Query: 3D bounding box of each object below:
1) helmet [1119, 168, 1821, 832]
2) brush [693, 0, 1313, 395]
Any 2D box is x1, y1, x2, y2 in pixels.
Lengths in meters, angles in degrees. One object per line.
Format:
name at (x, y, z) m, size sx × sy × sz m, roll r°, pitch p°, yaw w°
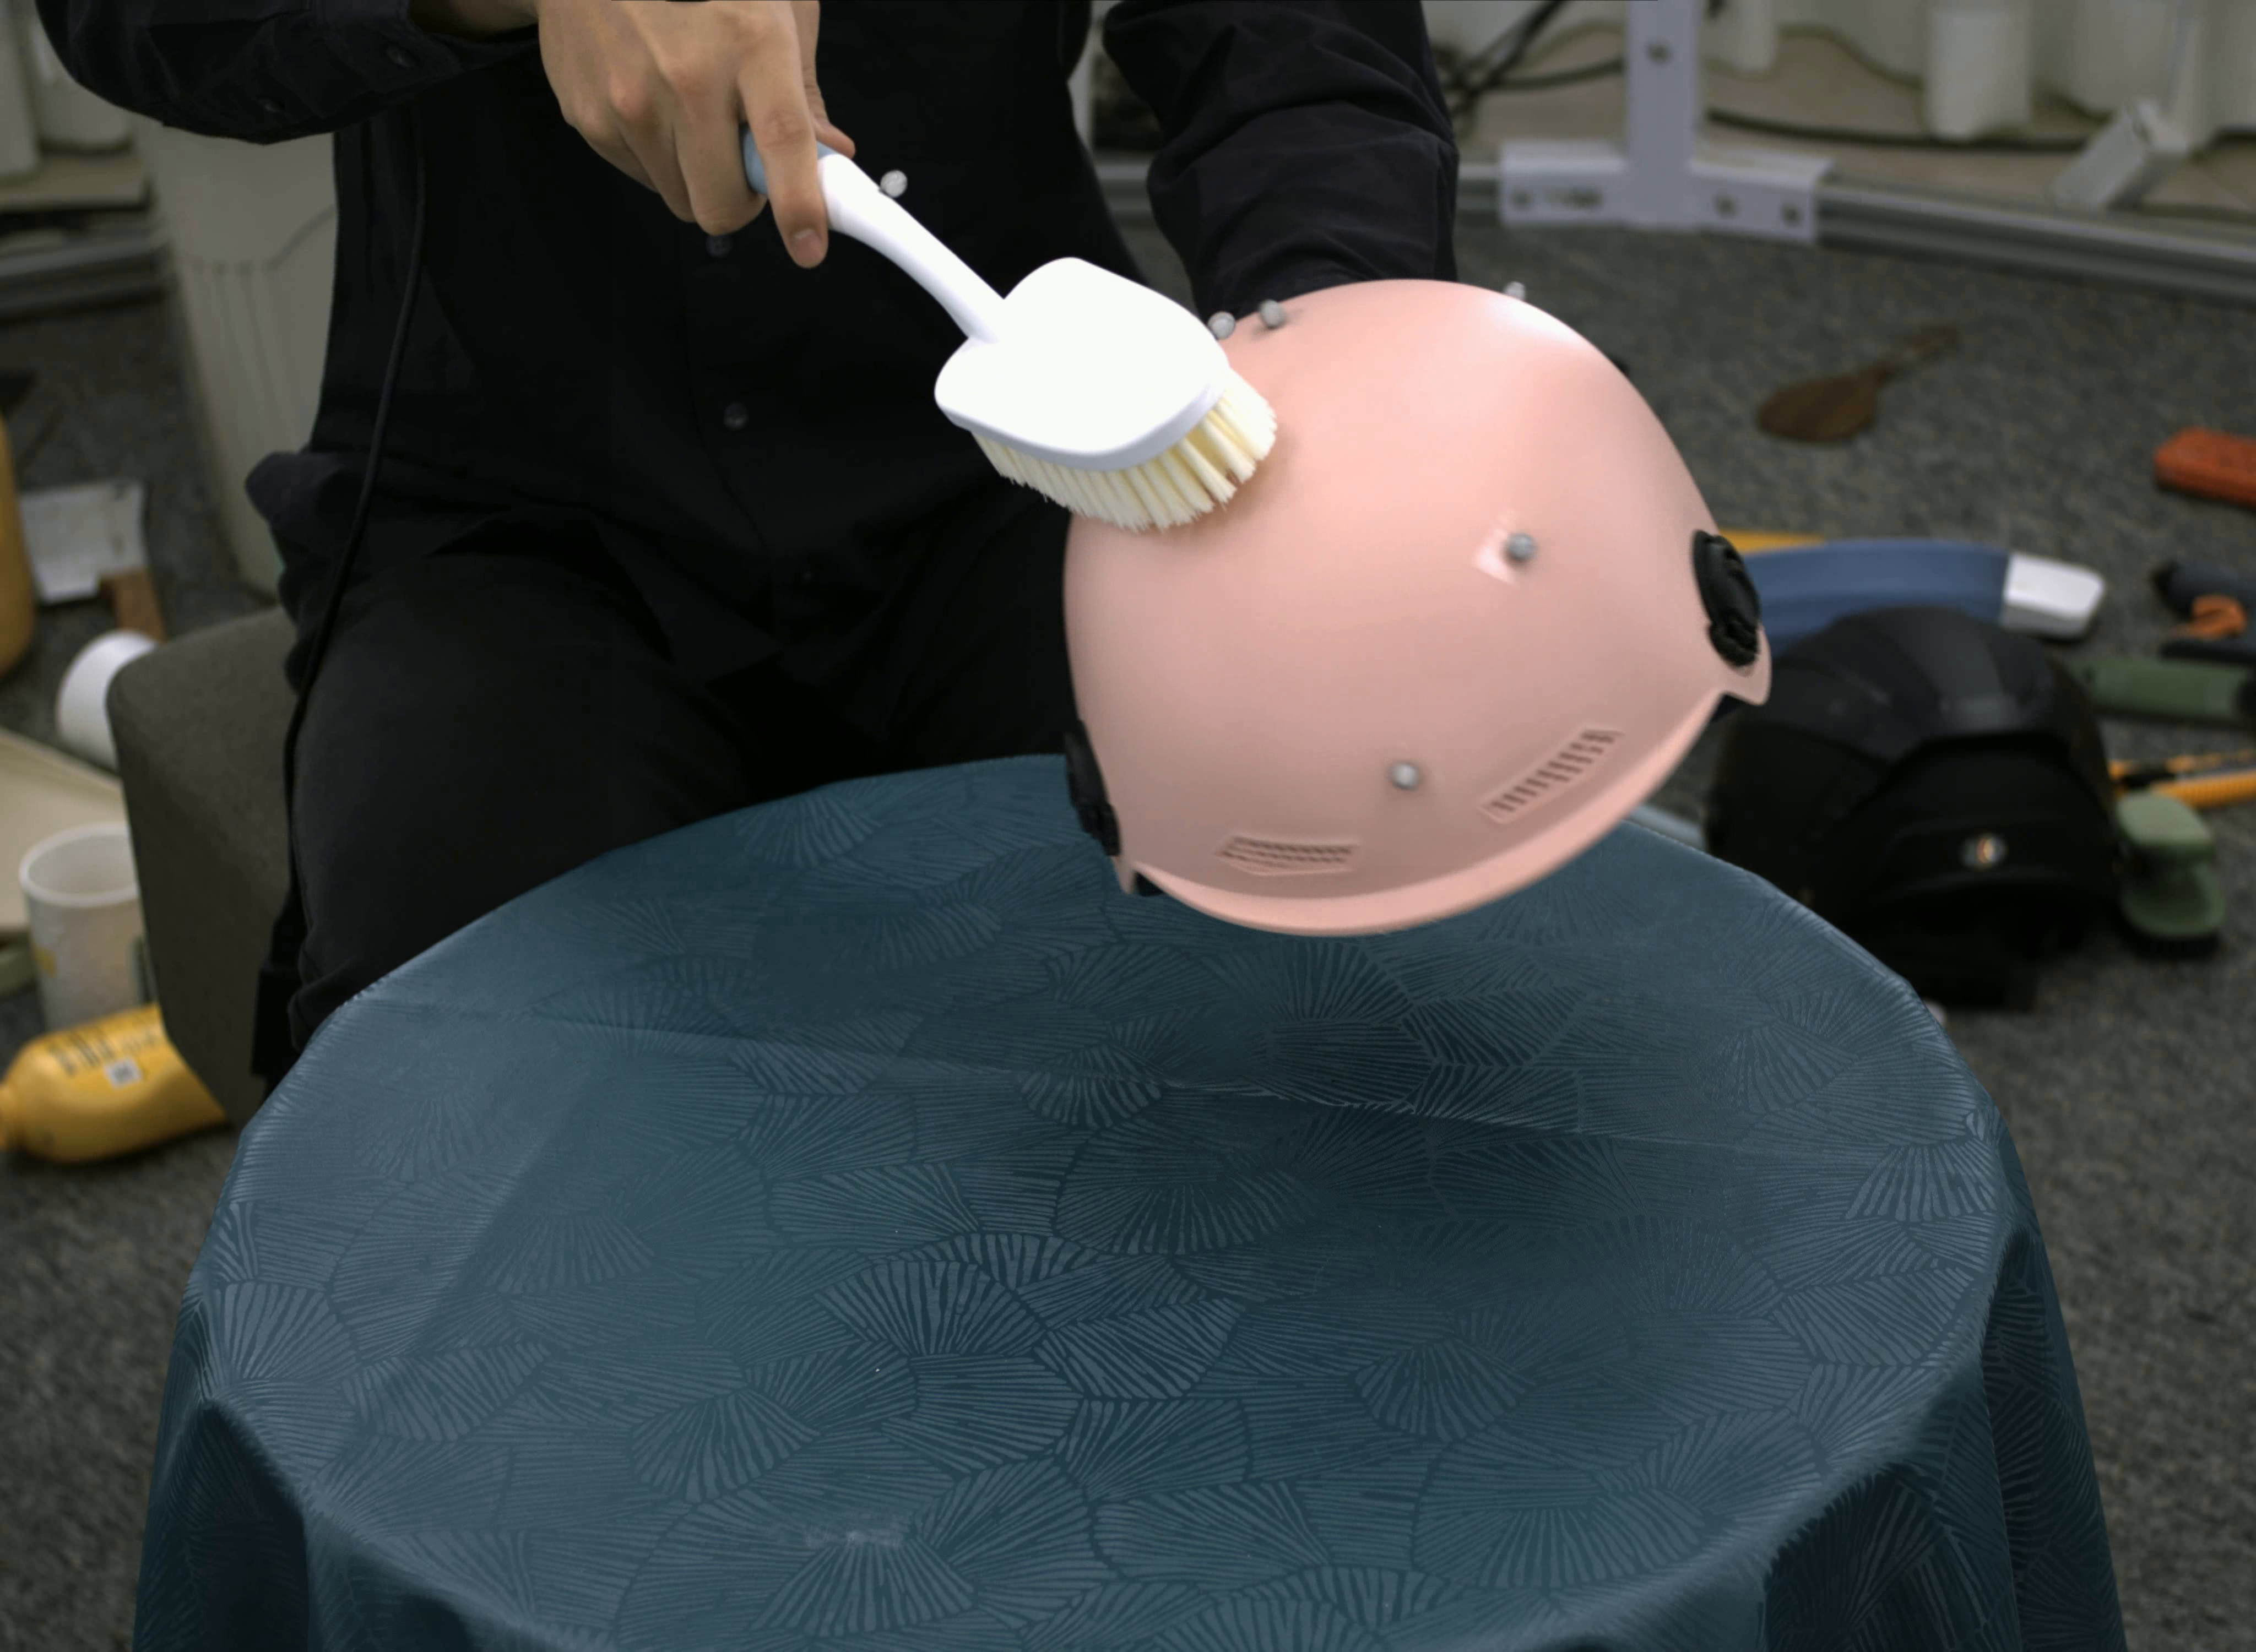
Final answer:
helmet at (0.096, -0.122, 1.838) m, size 0.232 × 0.157 × 0.270 m, roll -17°, pitch 25°, yaw 8°
brush at (-0.048, -0.220, 1.865) m, size 0.084 × 0.083 × 0.326 m, roll -17°, pitch 36°, yaw -37°
